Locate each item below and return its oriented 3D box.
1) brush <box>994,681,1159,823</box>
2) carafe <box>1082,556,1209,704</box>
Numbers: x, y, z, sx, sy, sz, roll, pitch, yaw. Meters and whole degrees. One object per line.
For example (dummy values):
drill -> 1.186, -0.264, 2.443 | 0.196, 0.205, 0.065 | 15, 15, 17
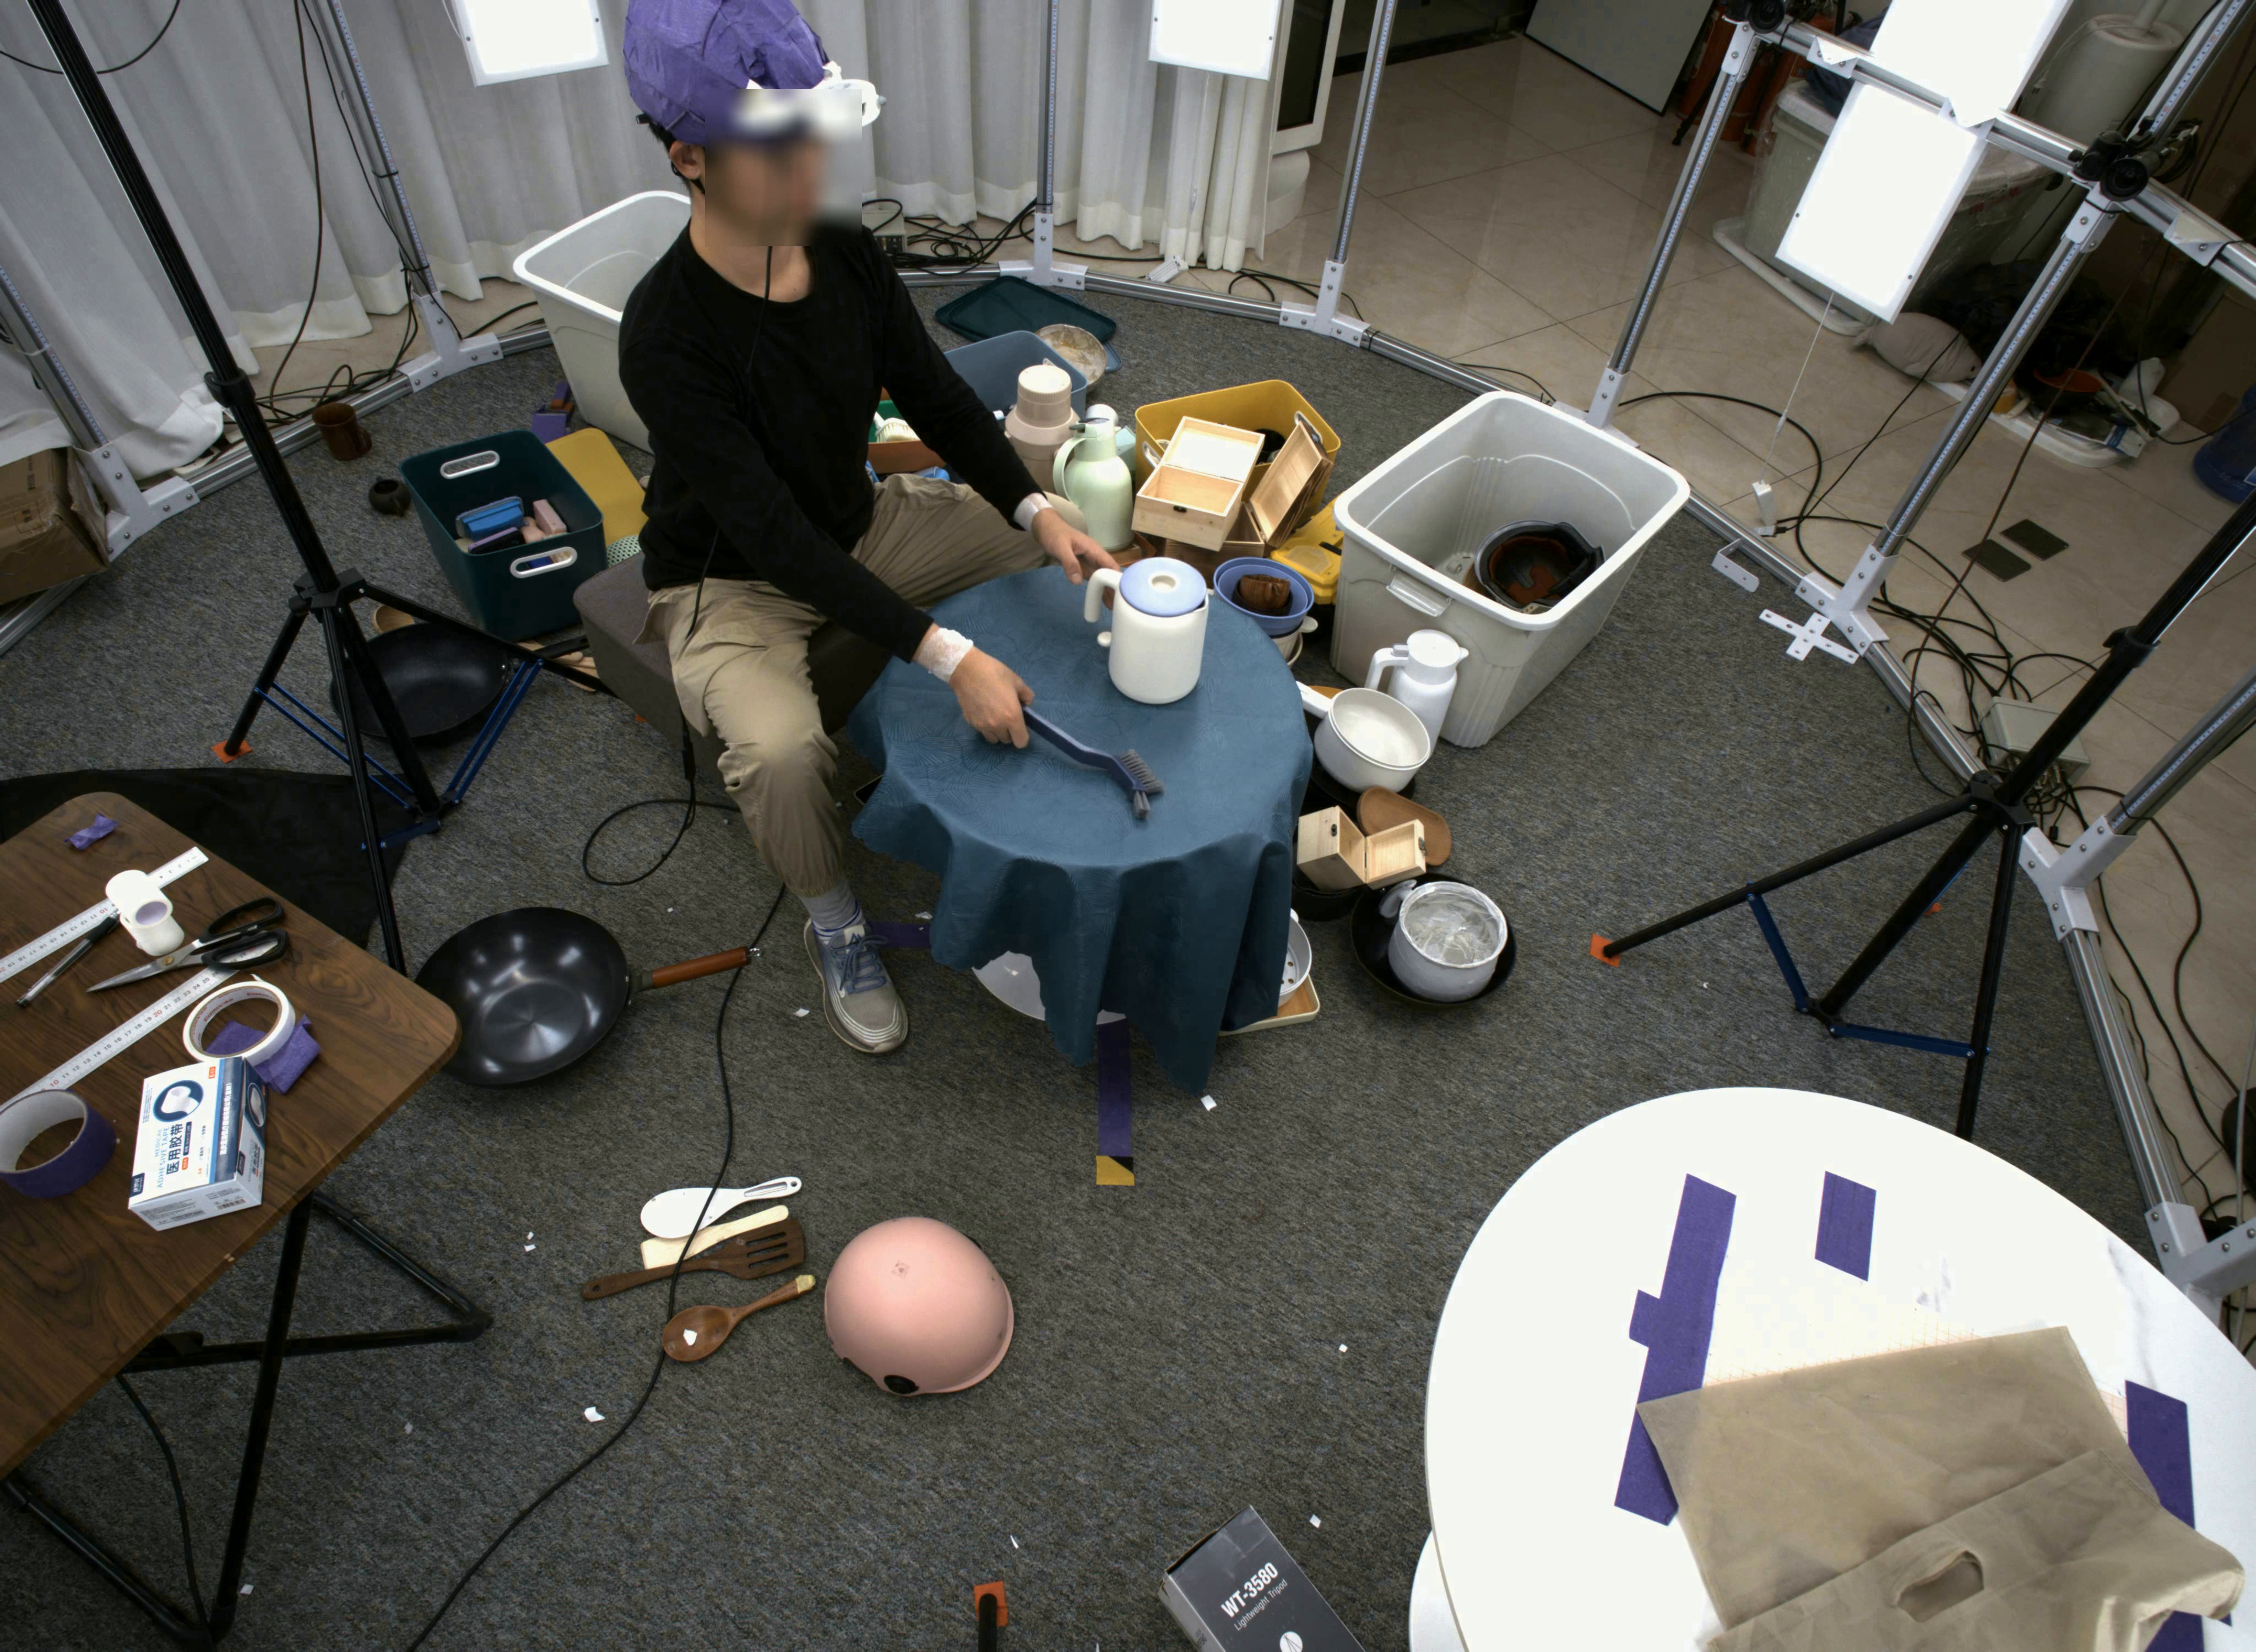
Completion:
brush -> -0.081, -0.104, 1.720 | 0.275, 0.033, 0.097 | 29, 53, 12
carafe -> 0.020, -0.284, 1.807 | 0.192, 0.178, 0.134 | 25, 52, 18
